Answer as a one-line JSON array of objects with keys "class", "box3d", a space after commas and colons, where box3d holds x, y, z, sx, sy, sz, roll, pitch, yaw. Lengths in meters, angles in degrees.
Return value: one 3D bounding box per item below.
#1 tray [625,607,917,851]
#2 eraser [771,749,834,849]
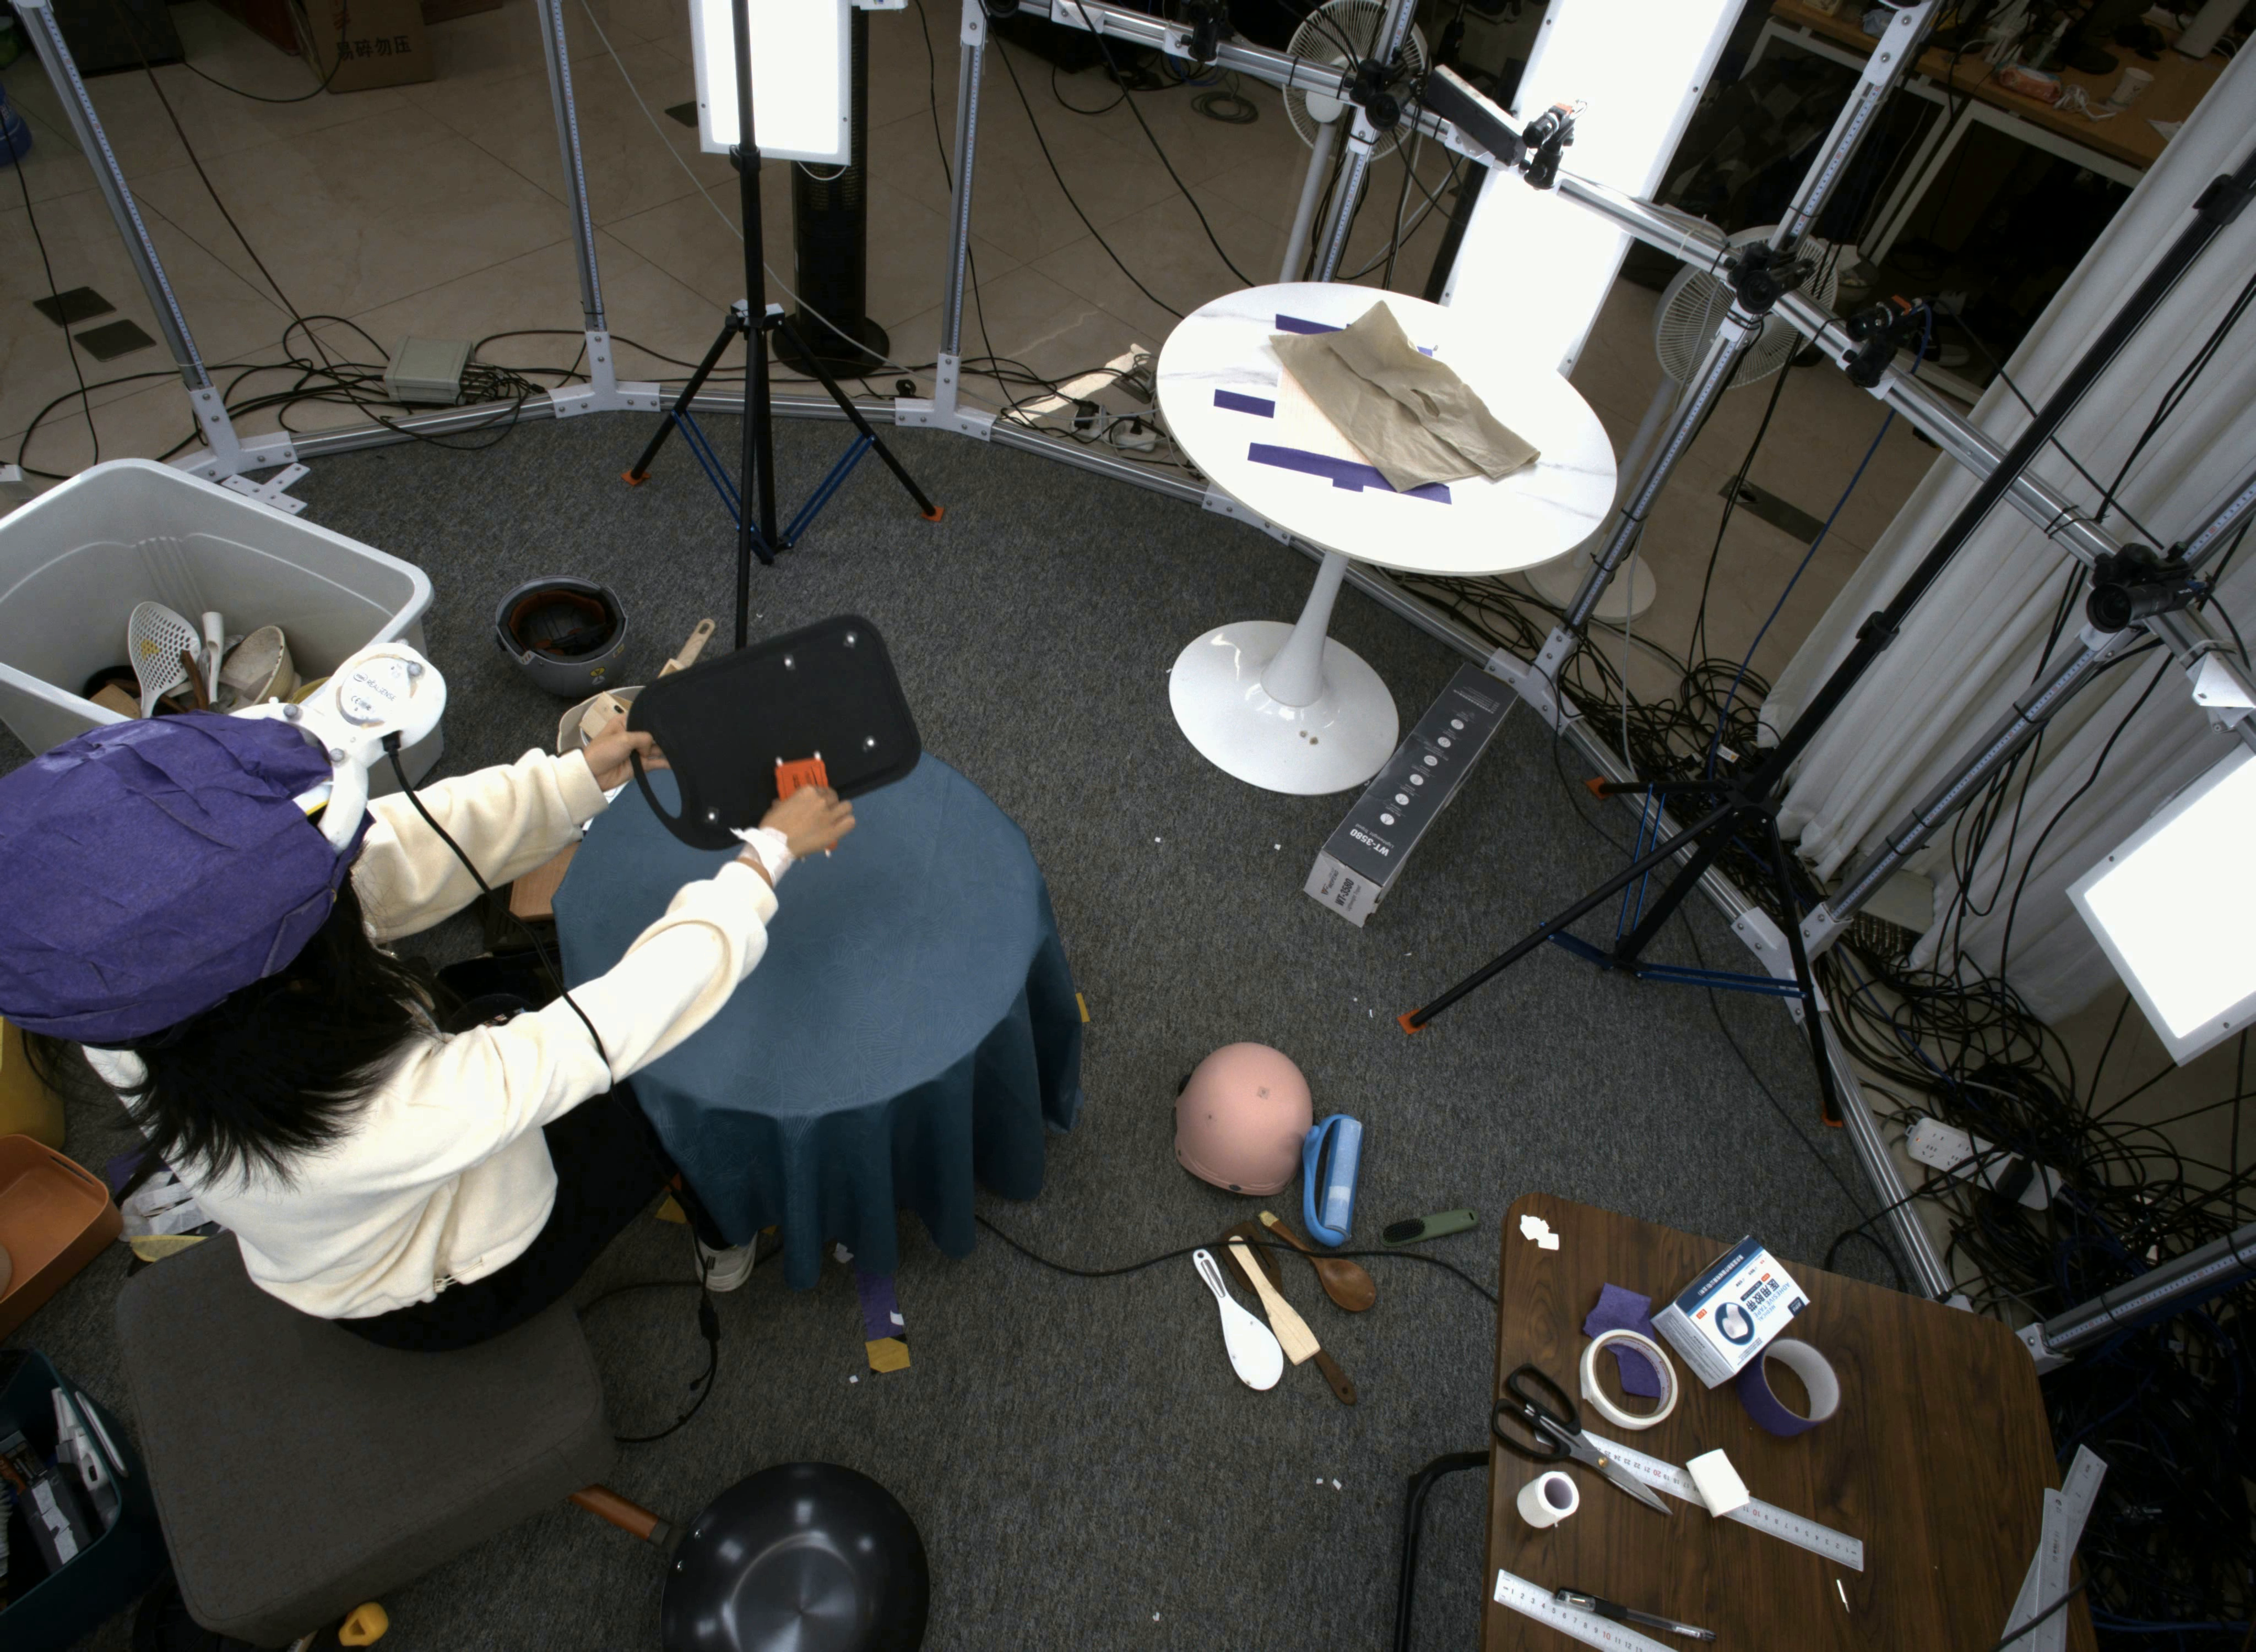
[{"class": "tray", "box3d": [-0.412, -0.110, 1.486, 0.326, 0.009, 0.216, -24, 105, -23]}, {"class": "eraser", "box3d": [-0.377, -0.032, 1.497, 0.059, 0.022, 0.110, -11, 98, -18]}]
